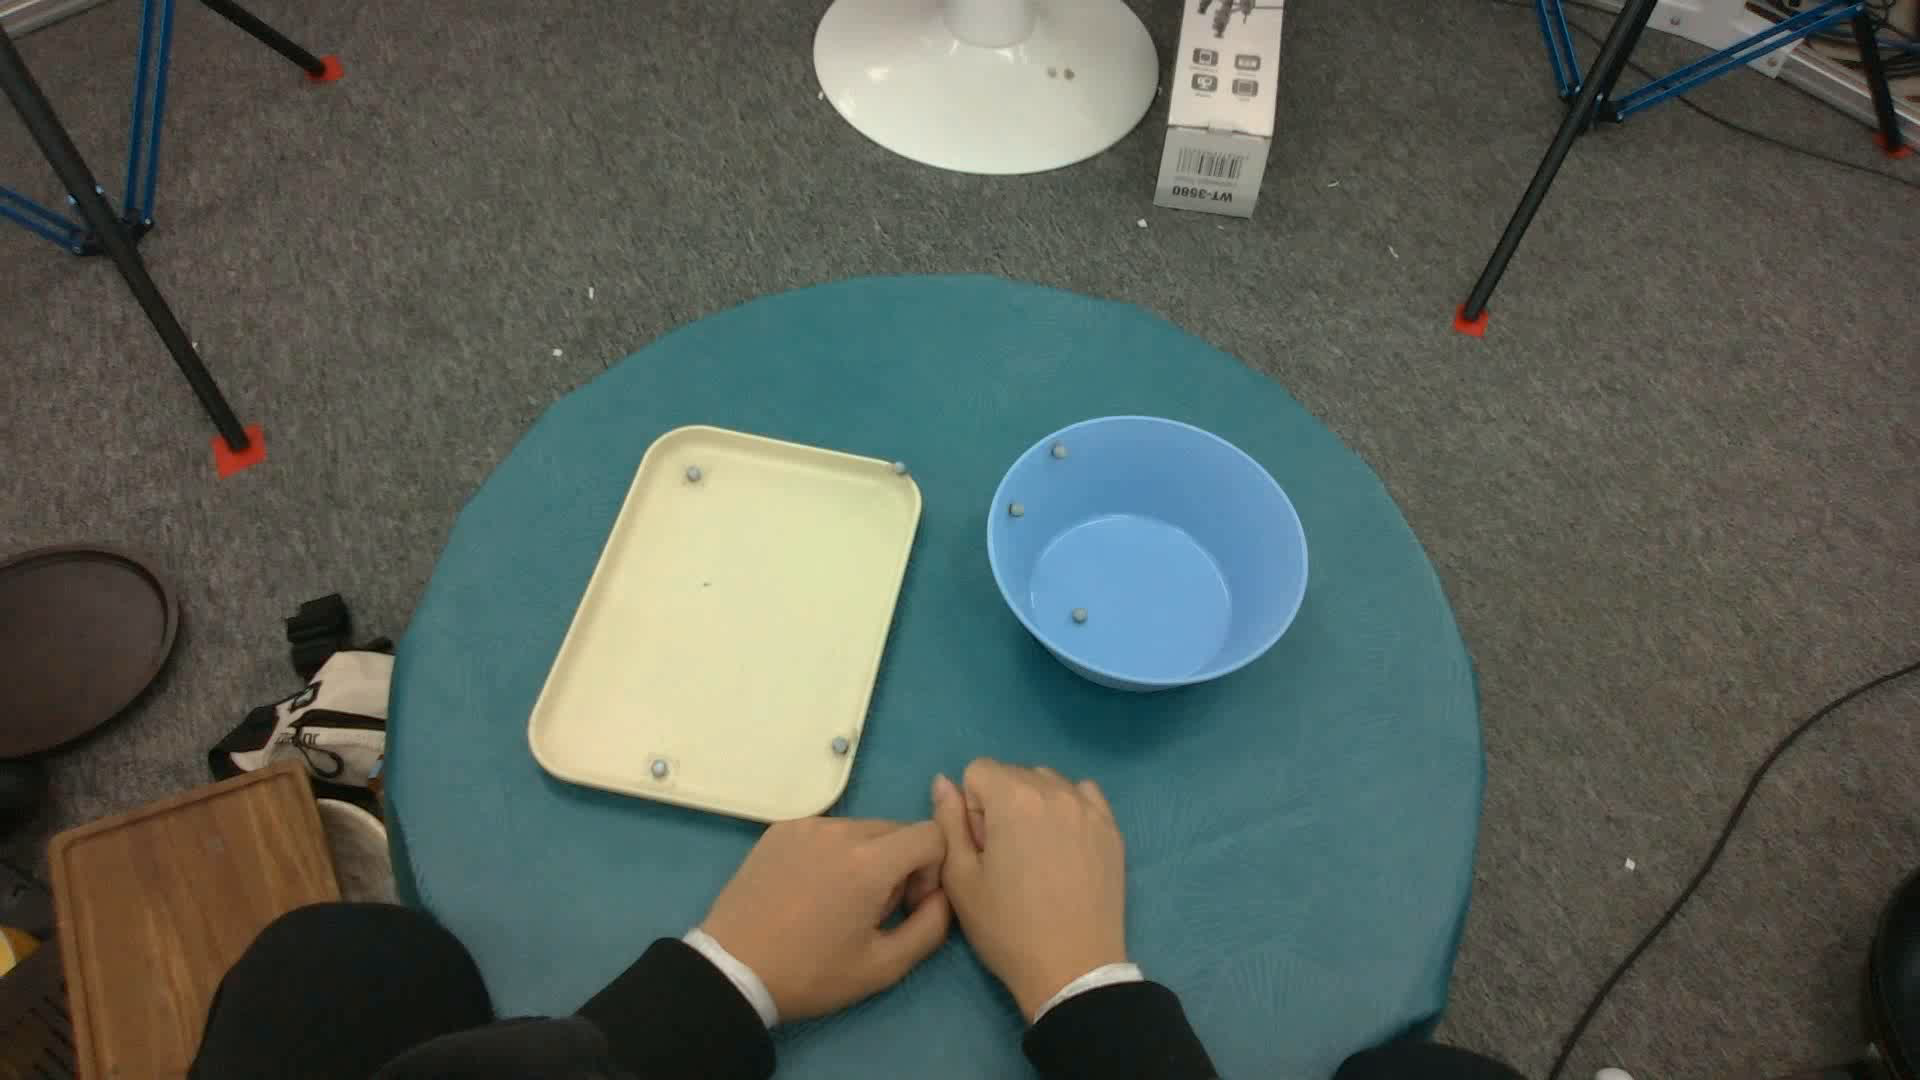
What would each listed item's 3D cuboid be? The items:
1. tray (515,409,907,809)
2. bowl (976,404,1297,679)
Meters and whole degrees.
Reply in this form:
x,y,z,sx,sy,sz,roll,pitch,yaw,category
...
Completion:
x,y,z,sx,sy,sz,roll,pitch,yaw,category
-0.132,0.031,0.771,0.171,0.017,0.241,11,56,3,tray
0.094,0.011,0.773,0.176,0.070,0.177,2,55,-3,bowl
